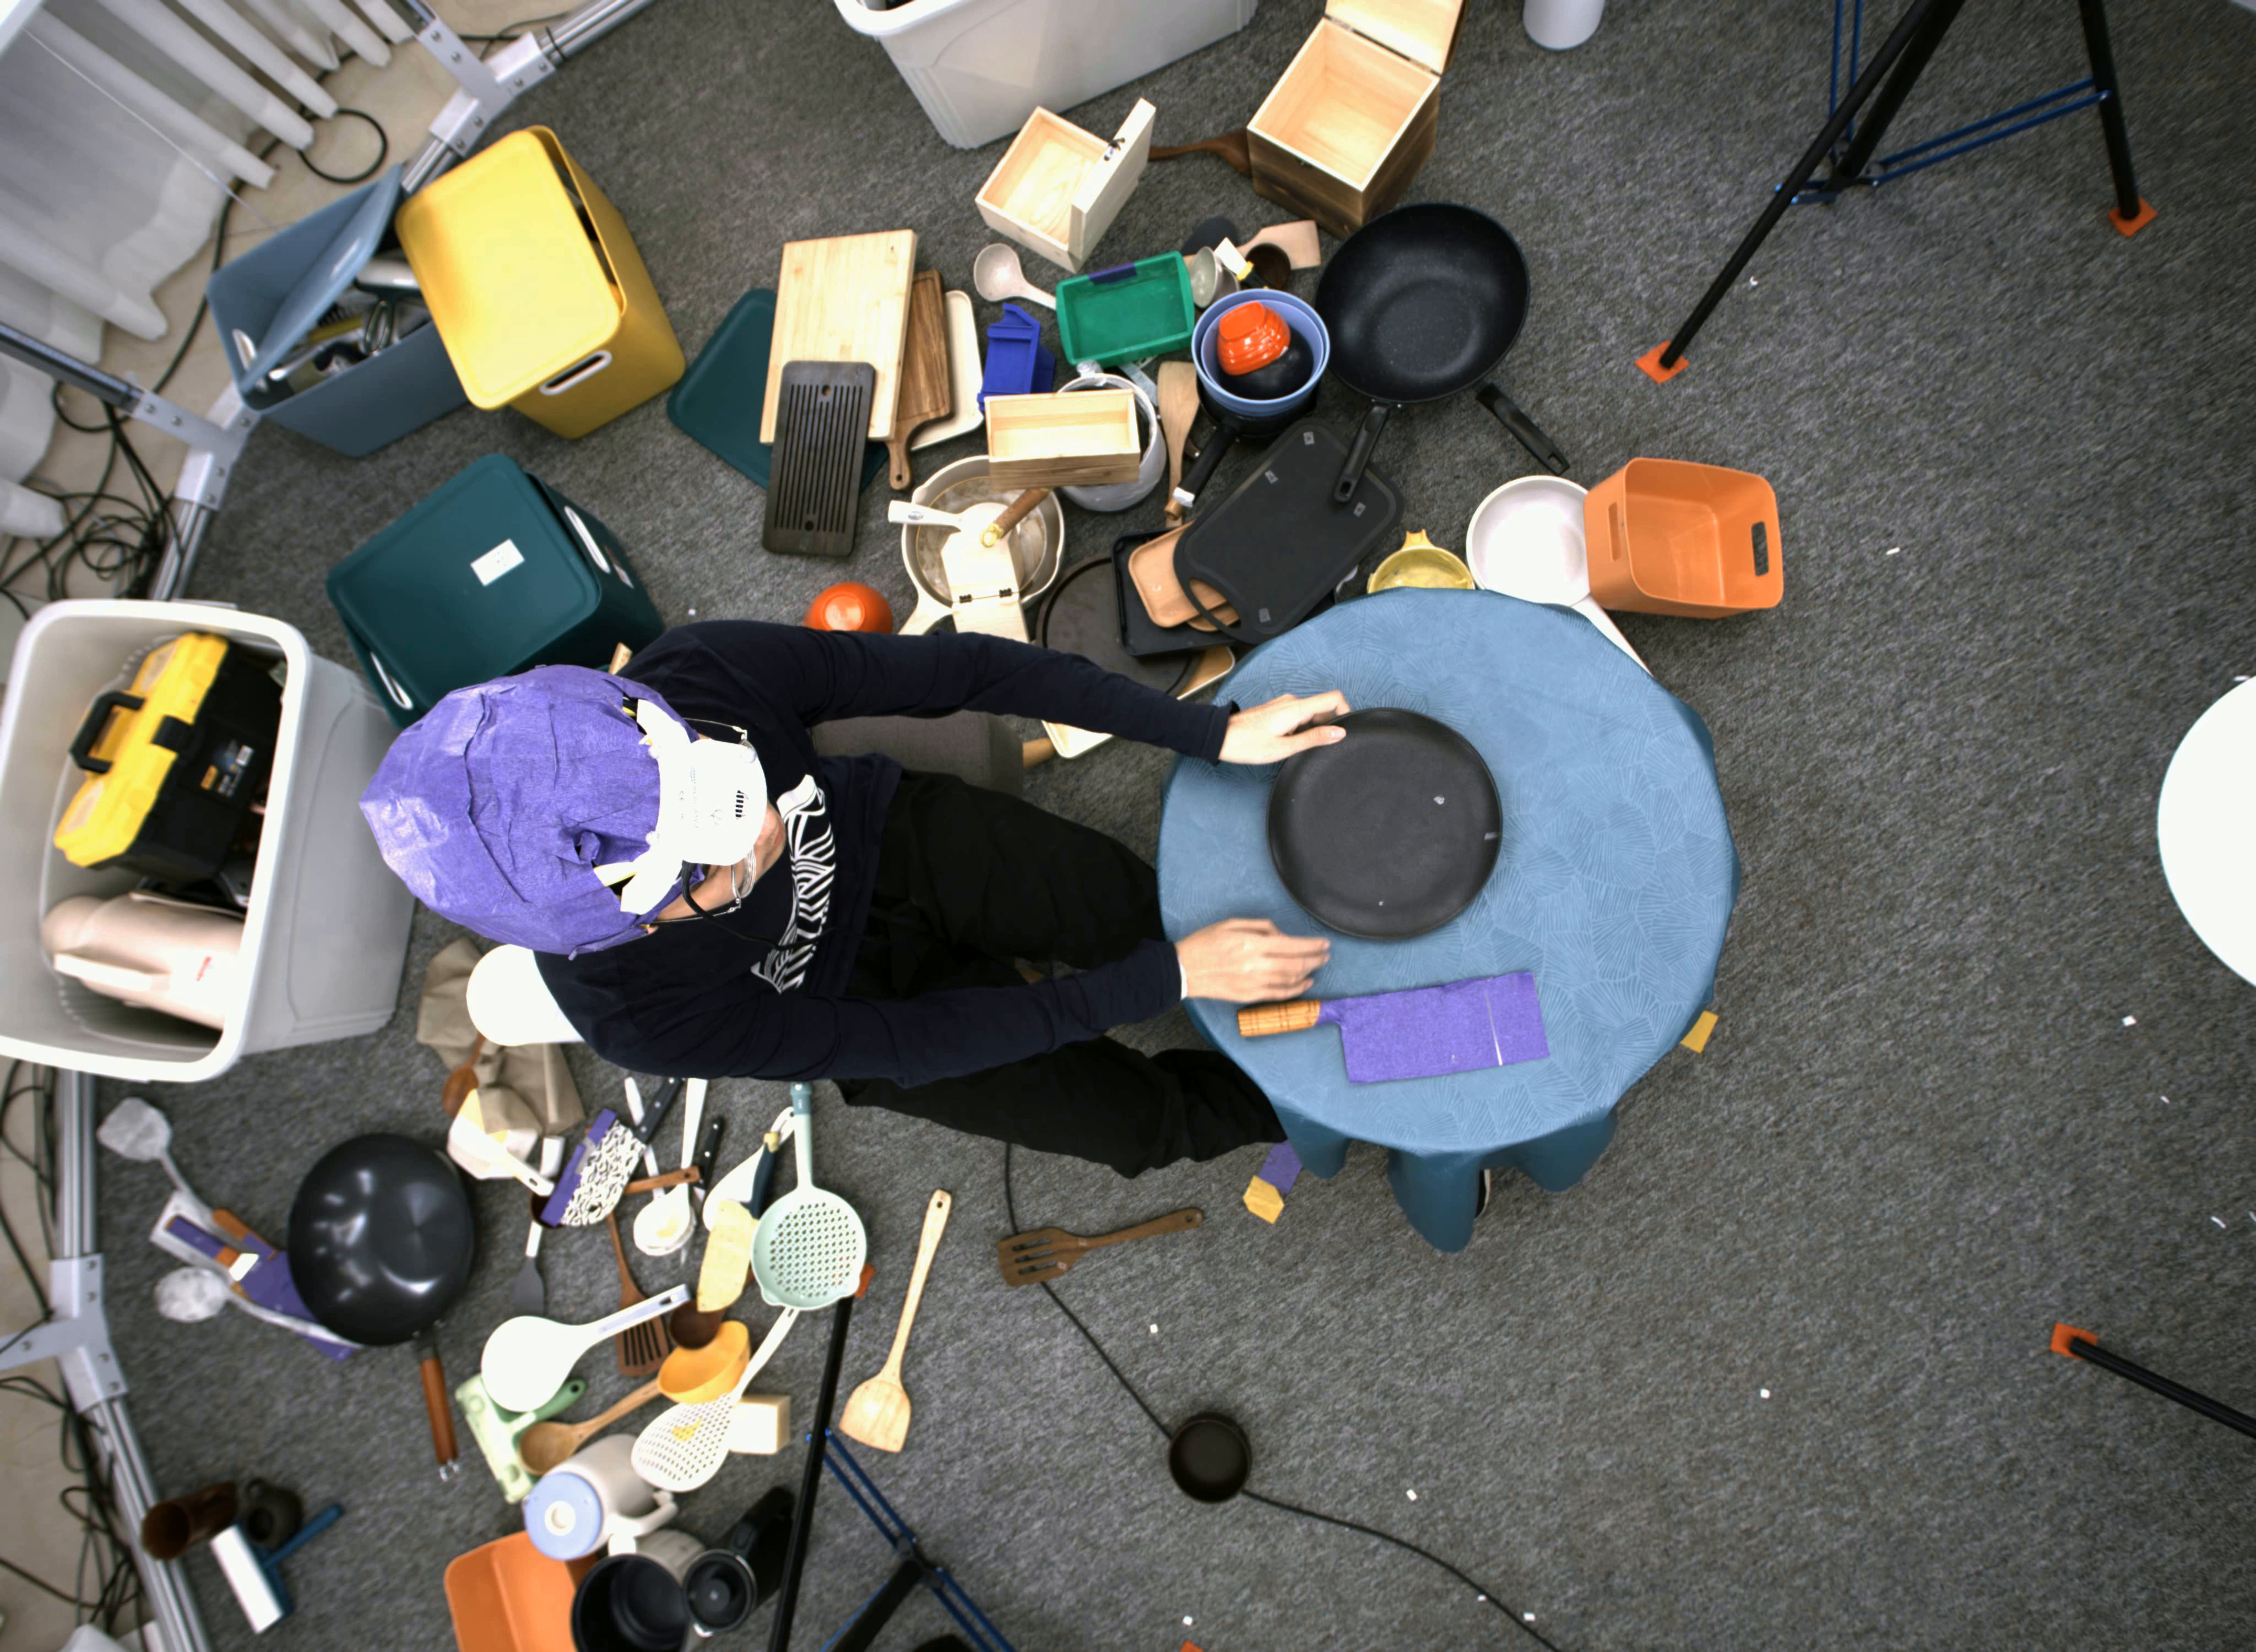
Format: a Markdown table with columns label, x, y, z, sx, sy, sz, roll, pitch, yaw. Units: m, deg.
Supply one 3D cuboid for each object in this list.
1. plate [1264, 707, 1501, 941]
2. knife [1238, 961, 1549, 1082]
| label | x | y | z | sx | sy | sz | roll | pitch | yaw |
| --- | --- | --- | --- | --- | --- | --- | --- | --- | --- |
| plate | 0.264 | -0.003 | 1.438 | 0.245 | 0.023 | 0.245 | 1 | 97 | 9 |
| knife | 0.275 | 0.214 | 1.438 | 0.317 | 0.032 | 0.103 | -10 | 85 | 10 |
